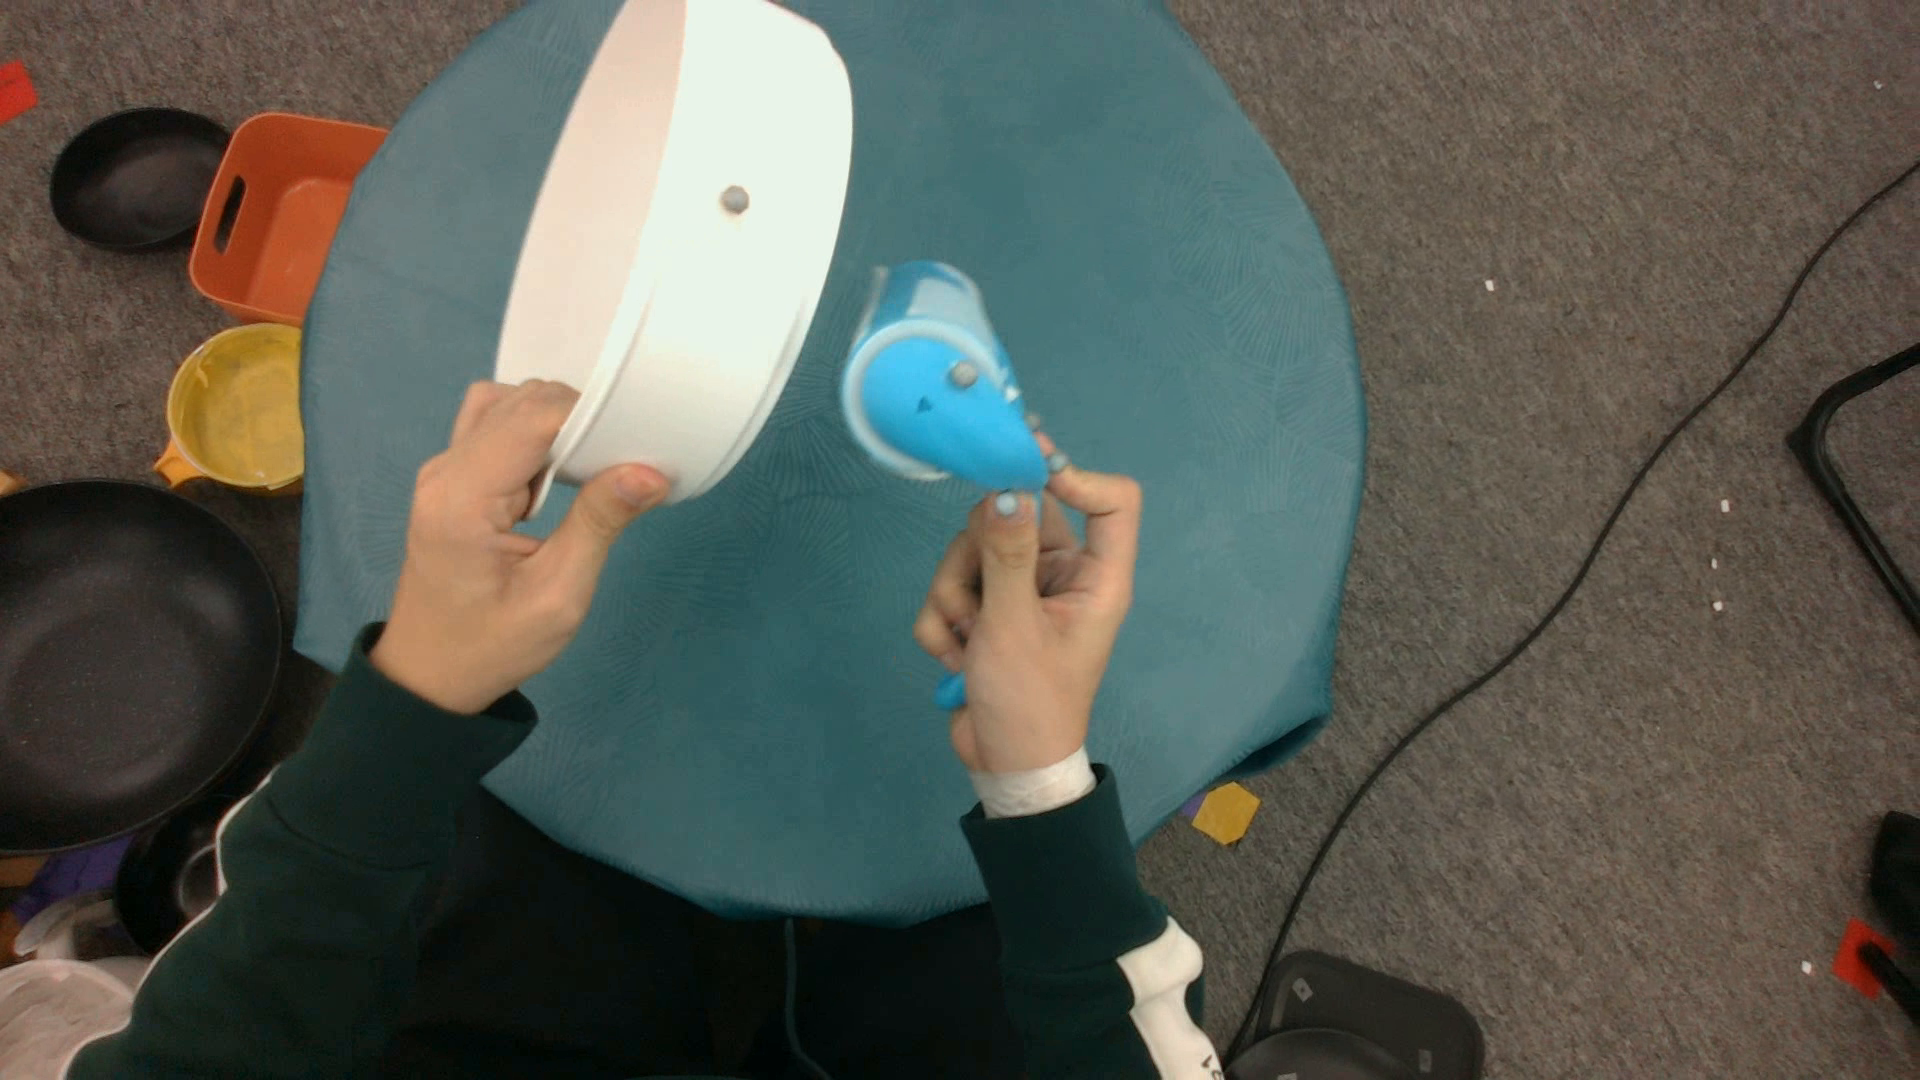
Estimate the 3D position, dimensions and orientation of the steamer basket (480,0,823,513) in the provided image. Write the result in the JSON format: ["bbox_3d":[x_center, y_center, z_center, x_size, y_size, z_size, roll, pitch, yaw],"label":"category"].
[{"bbox_3d":[-0.123,-0.118,0.530,0.069,0.201,0.230,12,88,-32],"label":"steamer basket"}]

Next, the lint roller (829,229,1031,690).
[{"bbox_3d":[-0.007,-0.029,0.553,0.068,0.229,0.180,-14,111,0],"label":"lint roller"}]
